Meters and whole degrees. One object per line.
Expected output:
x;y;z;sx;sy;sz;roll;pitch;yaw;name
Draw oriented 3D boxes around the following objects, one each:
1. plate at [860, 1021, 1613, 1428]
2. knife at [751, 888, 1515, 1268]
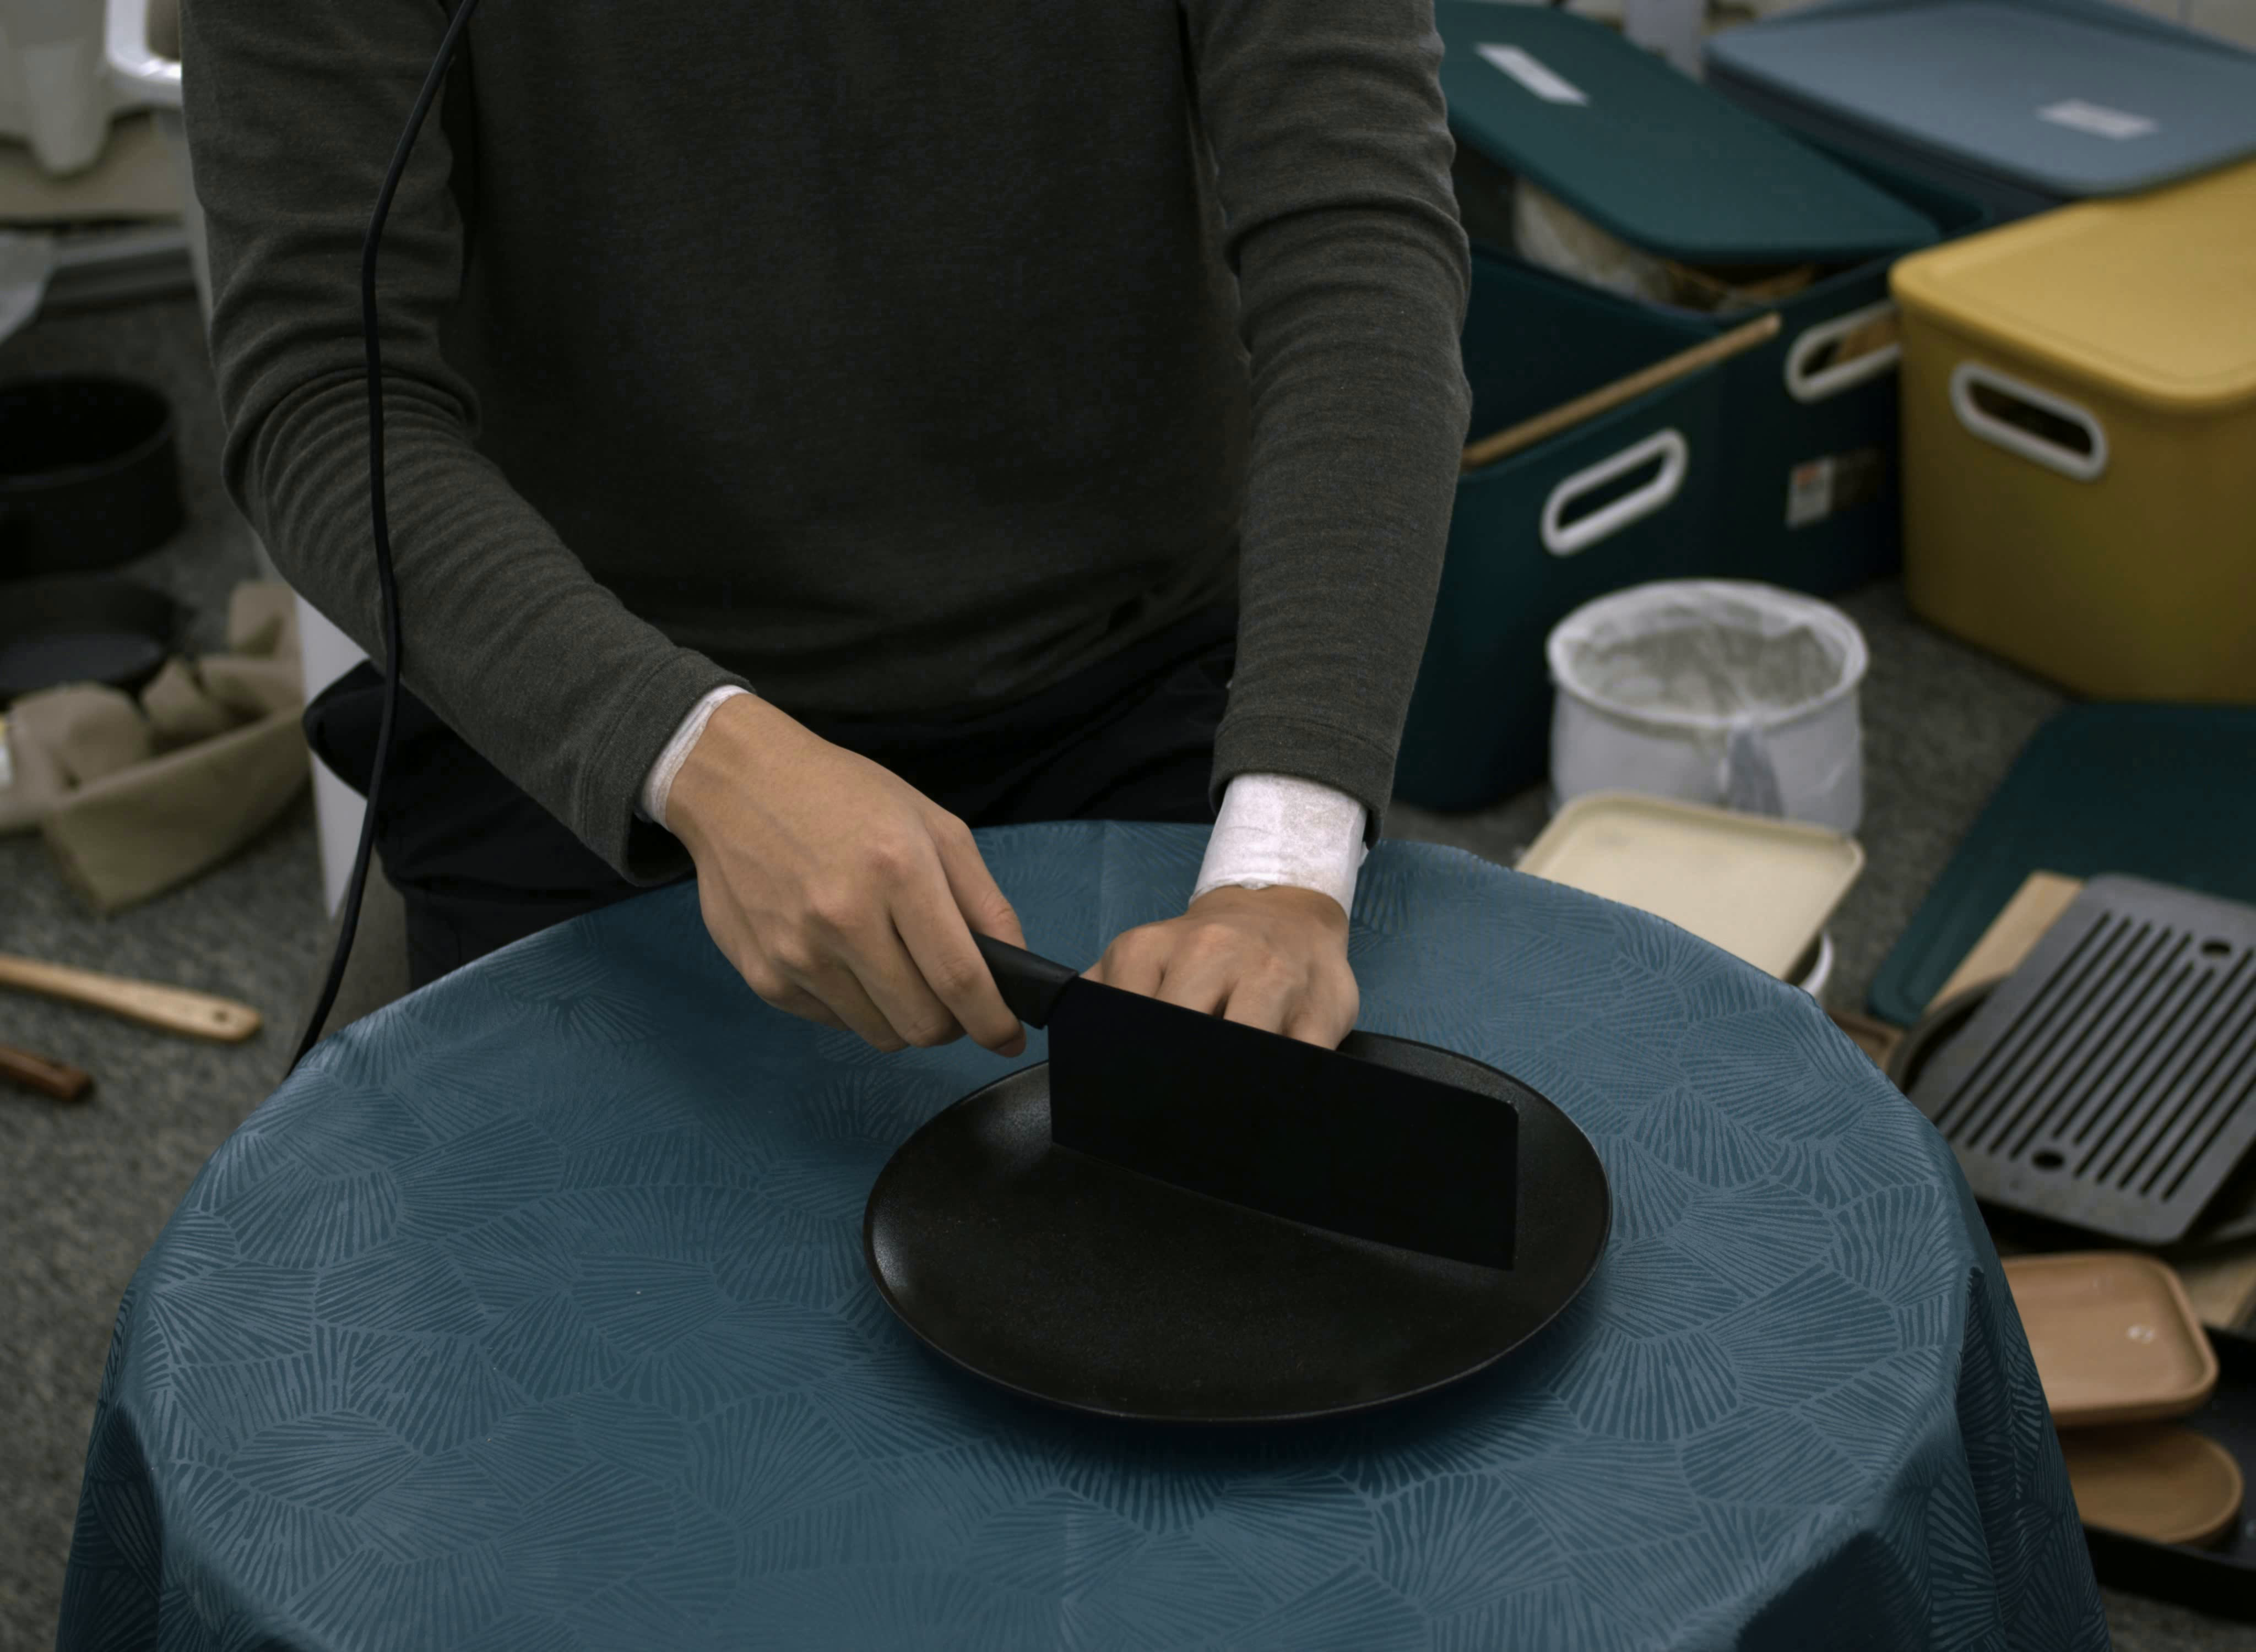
0.035;0.133;1.812;0.243;0.023;0.248;-2;27;1;plate
-0.001;0.078;1.842;0.301;0.080;0.021;20;28;29;knife
